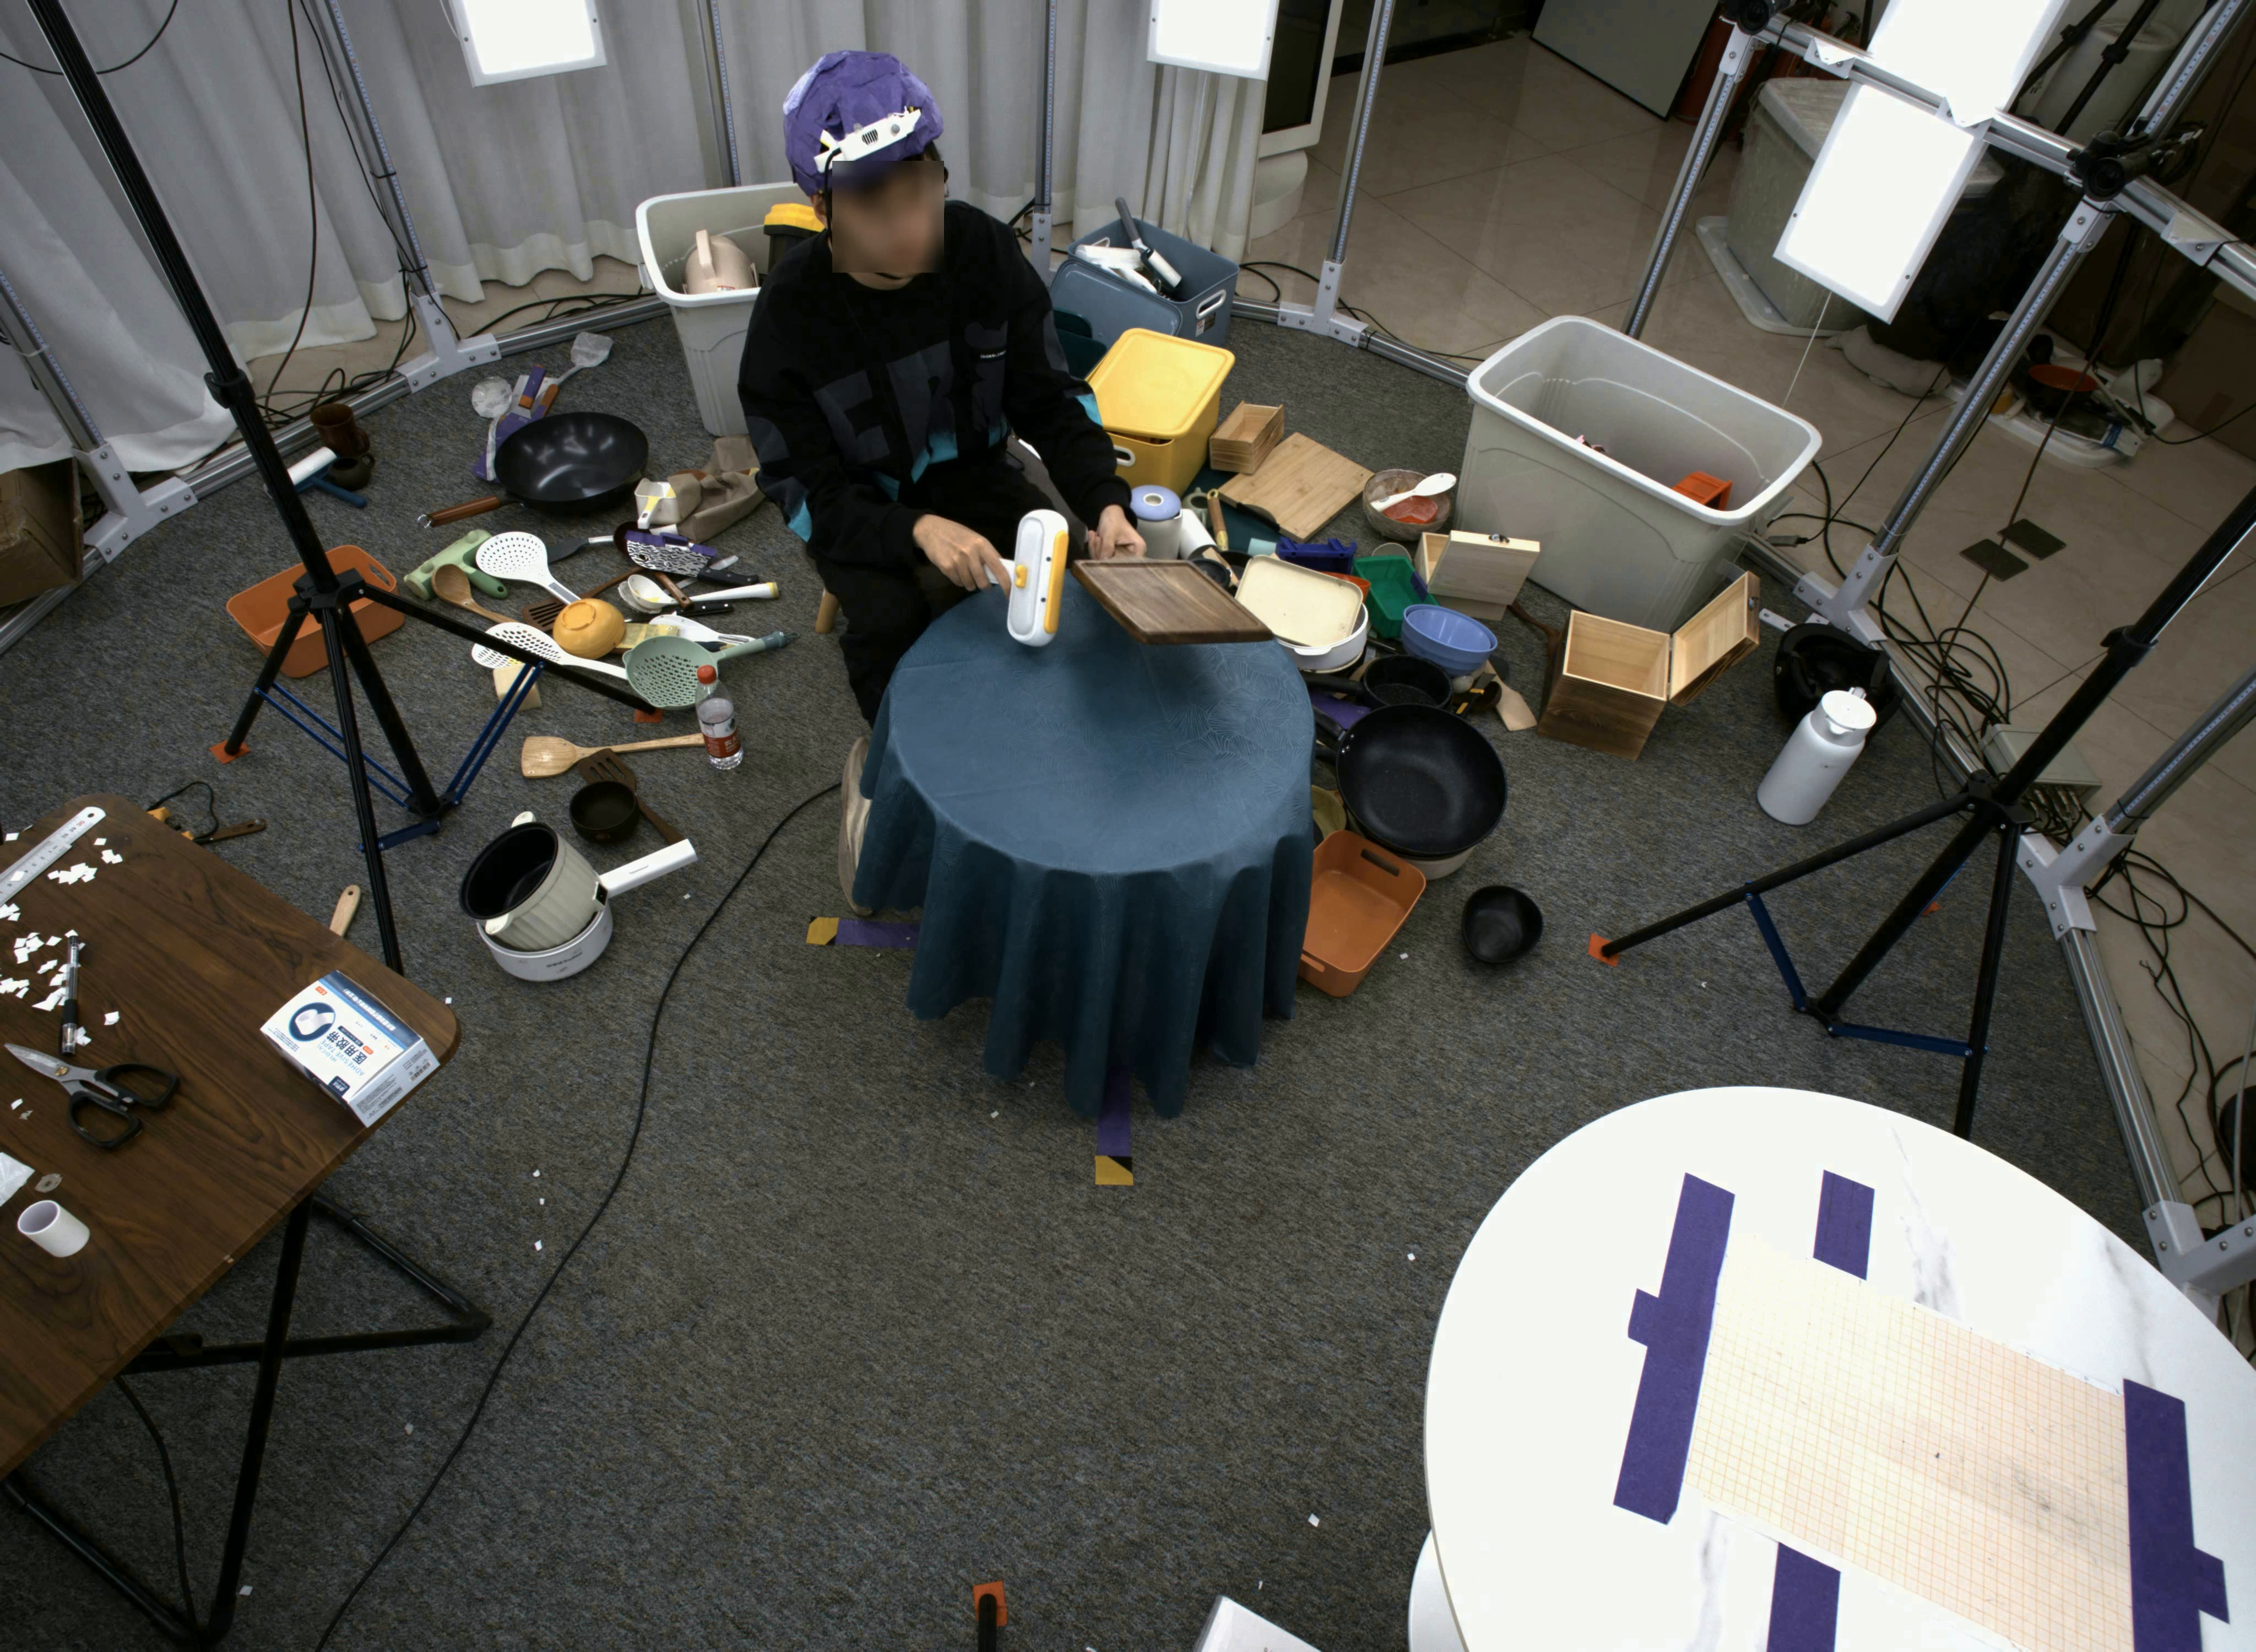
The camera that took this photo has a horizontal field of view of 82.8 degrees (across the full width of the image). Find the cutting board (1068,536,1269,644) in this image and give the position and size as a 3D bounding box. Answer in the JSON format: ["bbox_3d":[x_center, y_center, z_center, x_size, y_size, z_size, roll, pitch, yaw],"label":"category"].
[{"bbox_3d":[0.033,-0.341,1.825,0.200,0.023,0.360,-5,33,-25],"label":"cutting board"}]

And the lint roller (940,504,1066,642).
[{"bbox_3d":[-0.180,-0.370,1.865,0.194,0.190,0.074,13,18,30],"label":"lint roller"}]
